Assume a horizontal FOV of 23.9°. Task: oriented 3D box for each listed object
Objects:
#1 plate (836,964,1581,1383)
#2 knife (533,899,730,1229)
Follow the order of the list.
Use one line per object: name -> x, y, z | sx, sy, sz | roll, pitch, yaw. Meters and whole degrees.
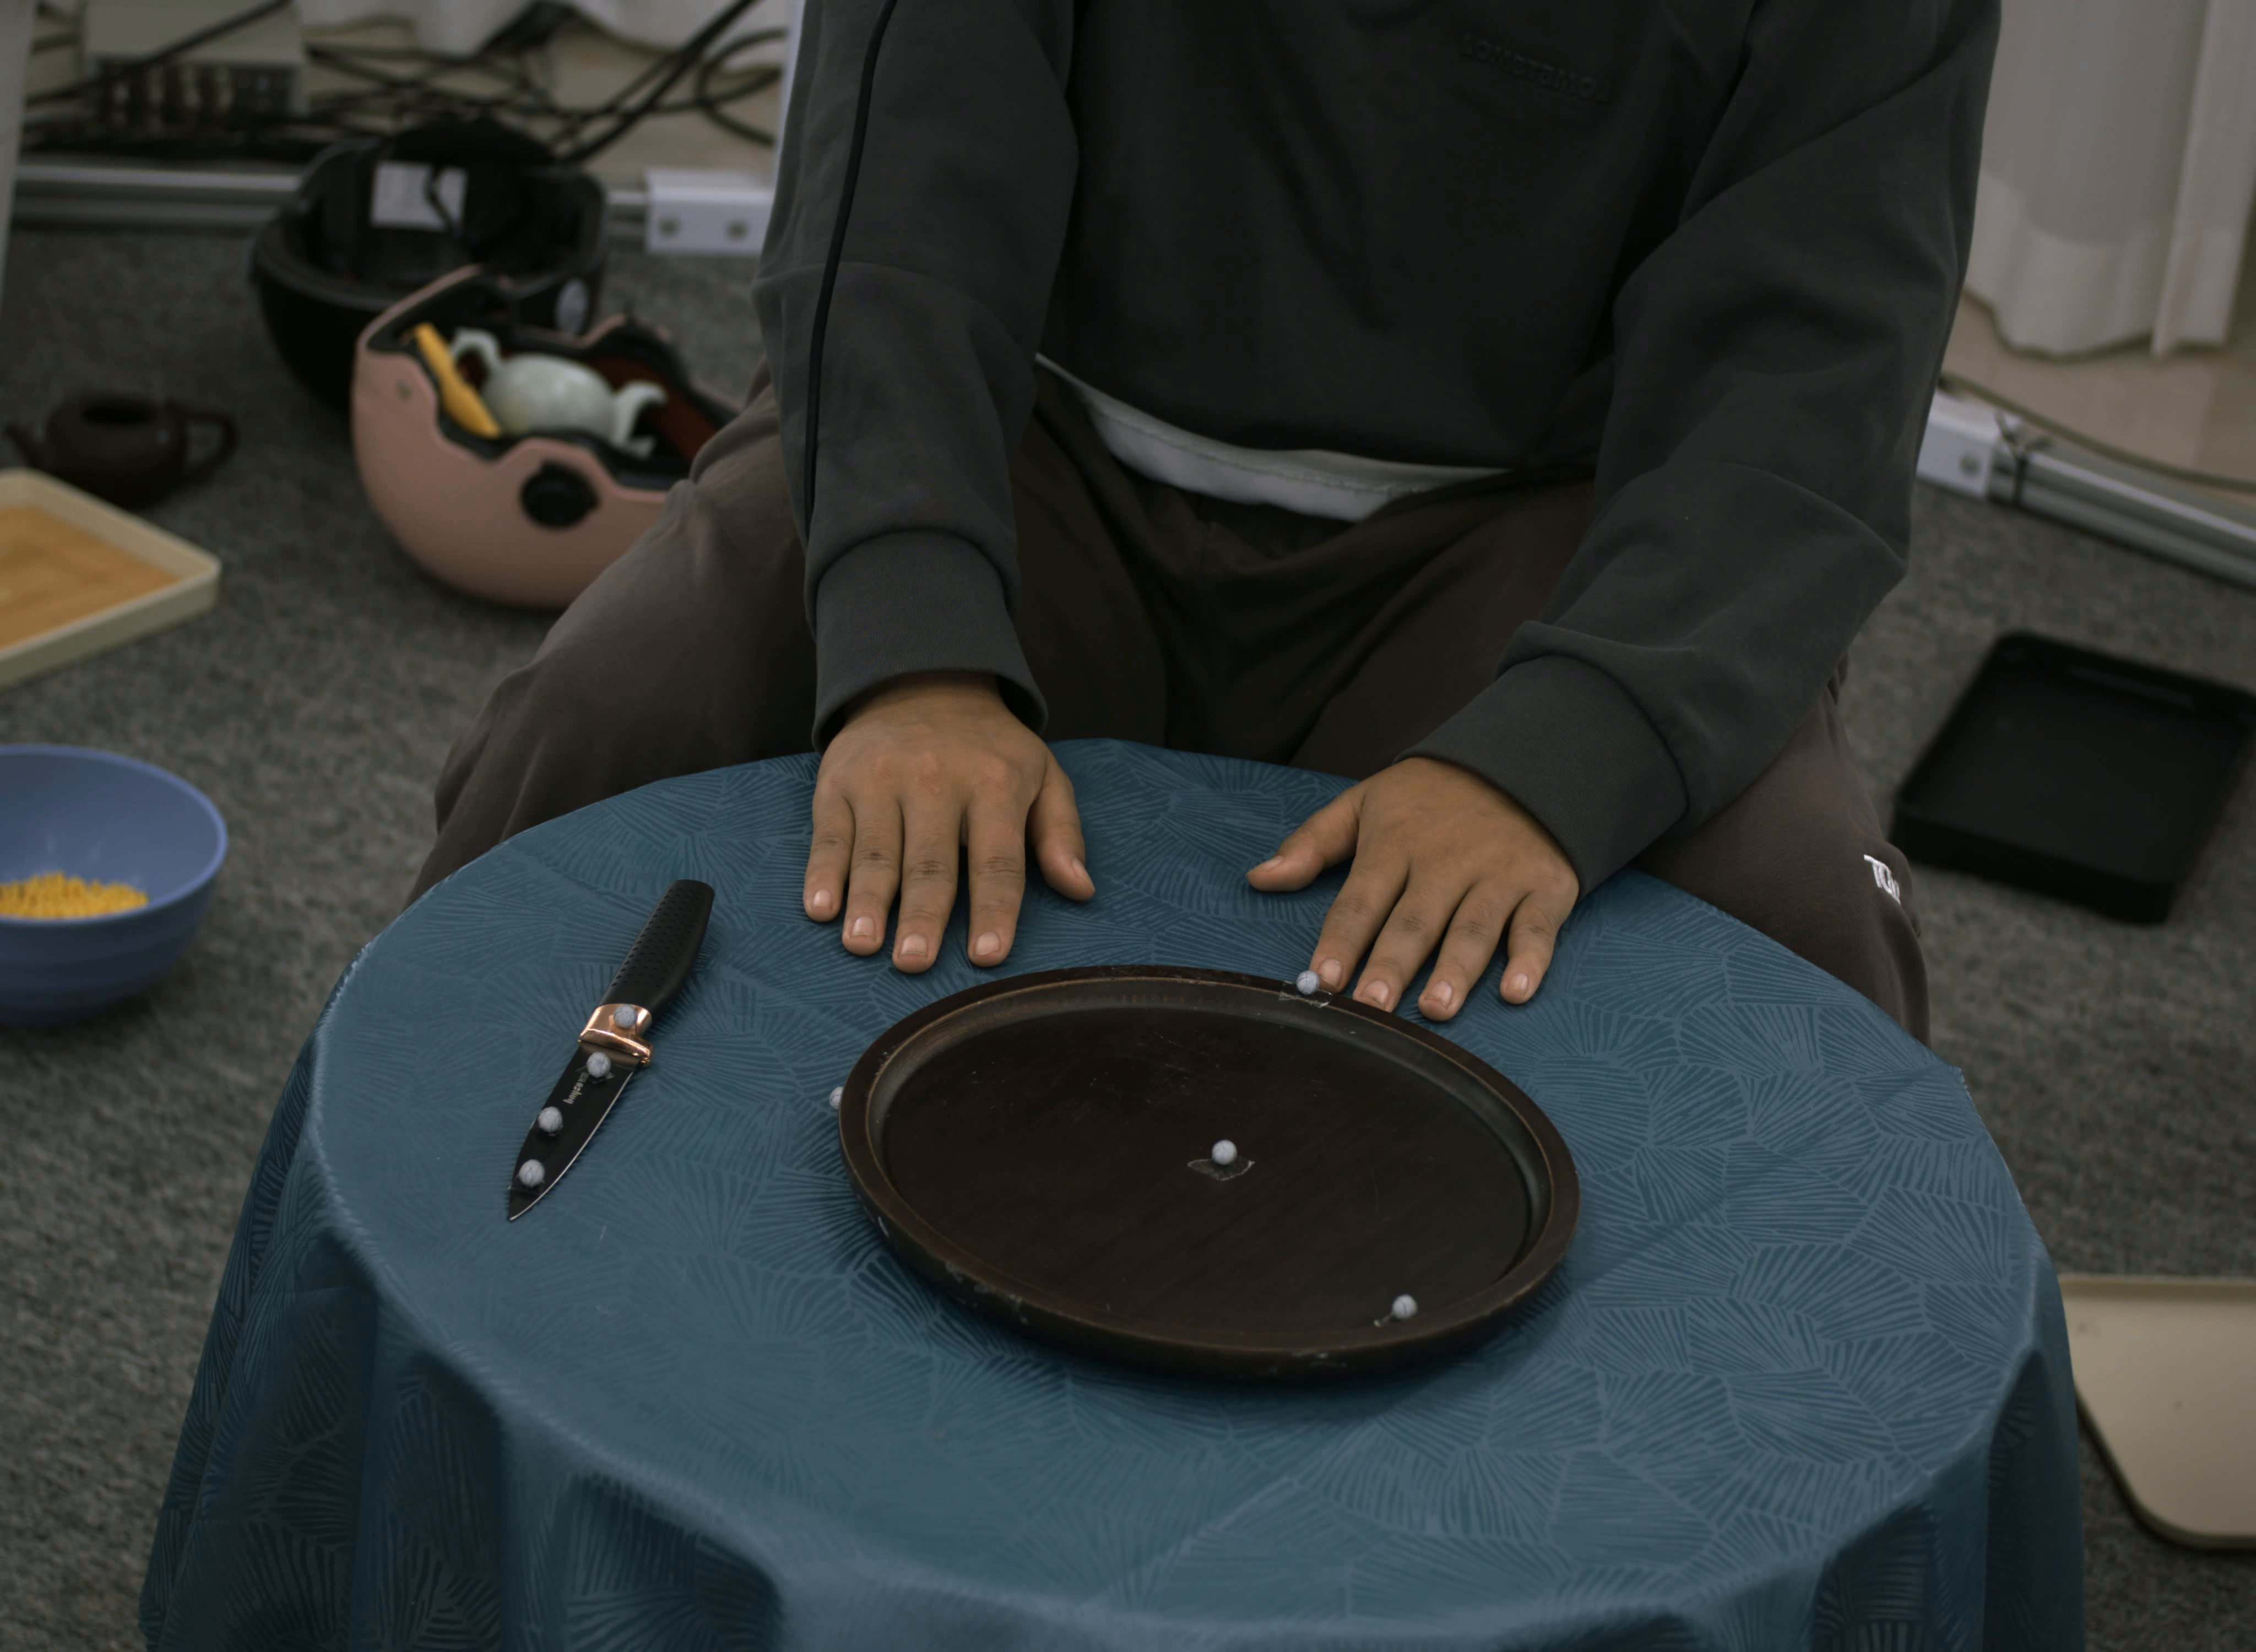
plate -> 0.027, 0.116, 1.802 | 0.254, 0.029, 0.256 | 5, 26, -3
knife -> -0.175, 0.080, 1.839 | 0.026, 0.017, 0.226 | 16, 28, 5
